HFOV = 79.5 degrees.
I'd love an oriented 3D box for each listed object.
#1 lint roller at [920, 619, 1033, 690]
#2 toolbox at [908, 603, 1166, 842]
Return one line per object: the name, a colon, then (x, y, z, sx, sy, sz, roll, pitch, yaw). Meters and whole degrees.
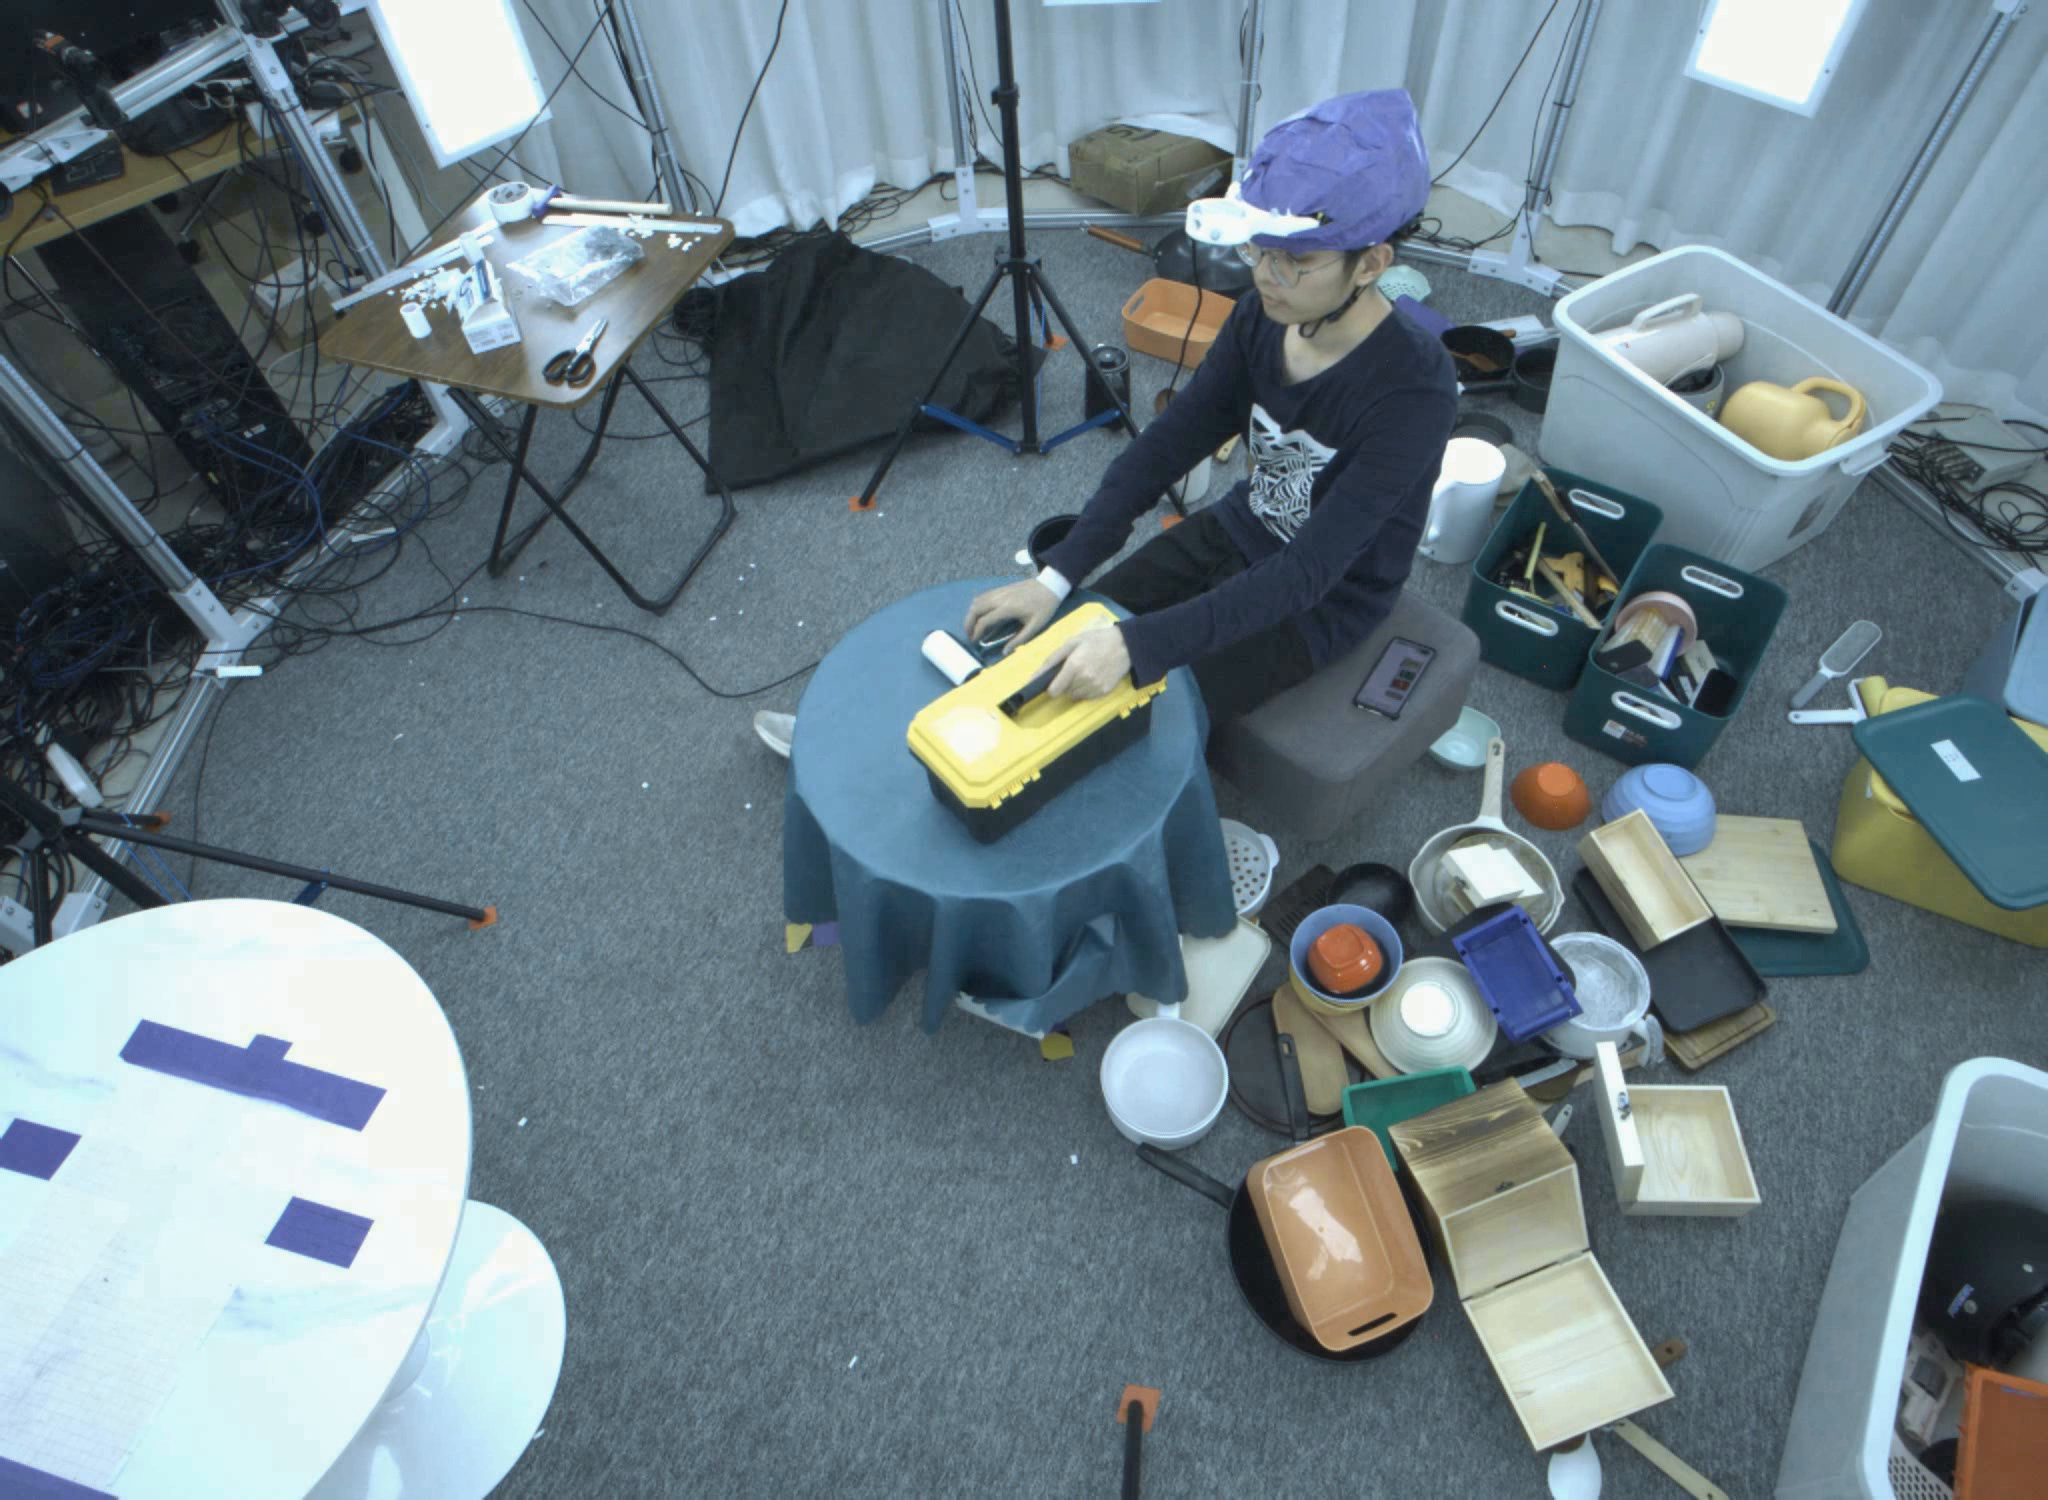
lint roller: (-0.057, -0.170, 1.894, 0.182, 0.049, 0.132, -33, 59, -25)
toolbox: (0.022, -0.039, 1.715, 0.354, 0.174, 0.178, -35, 61, -22)
